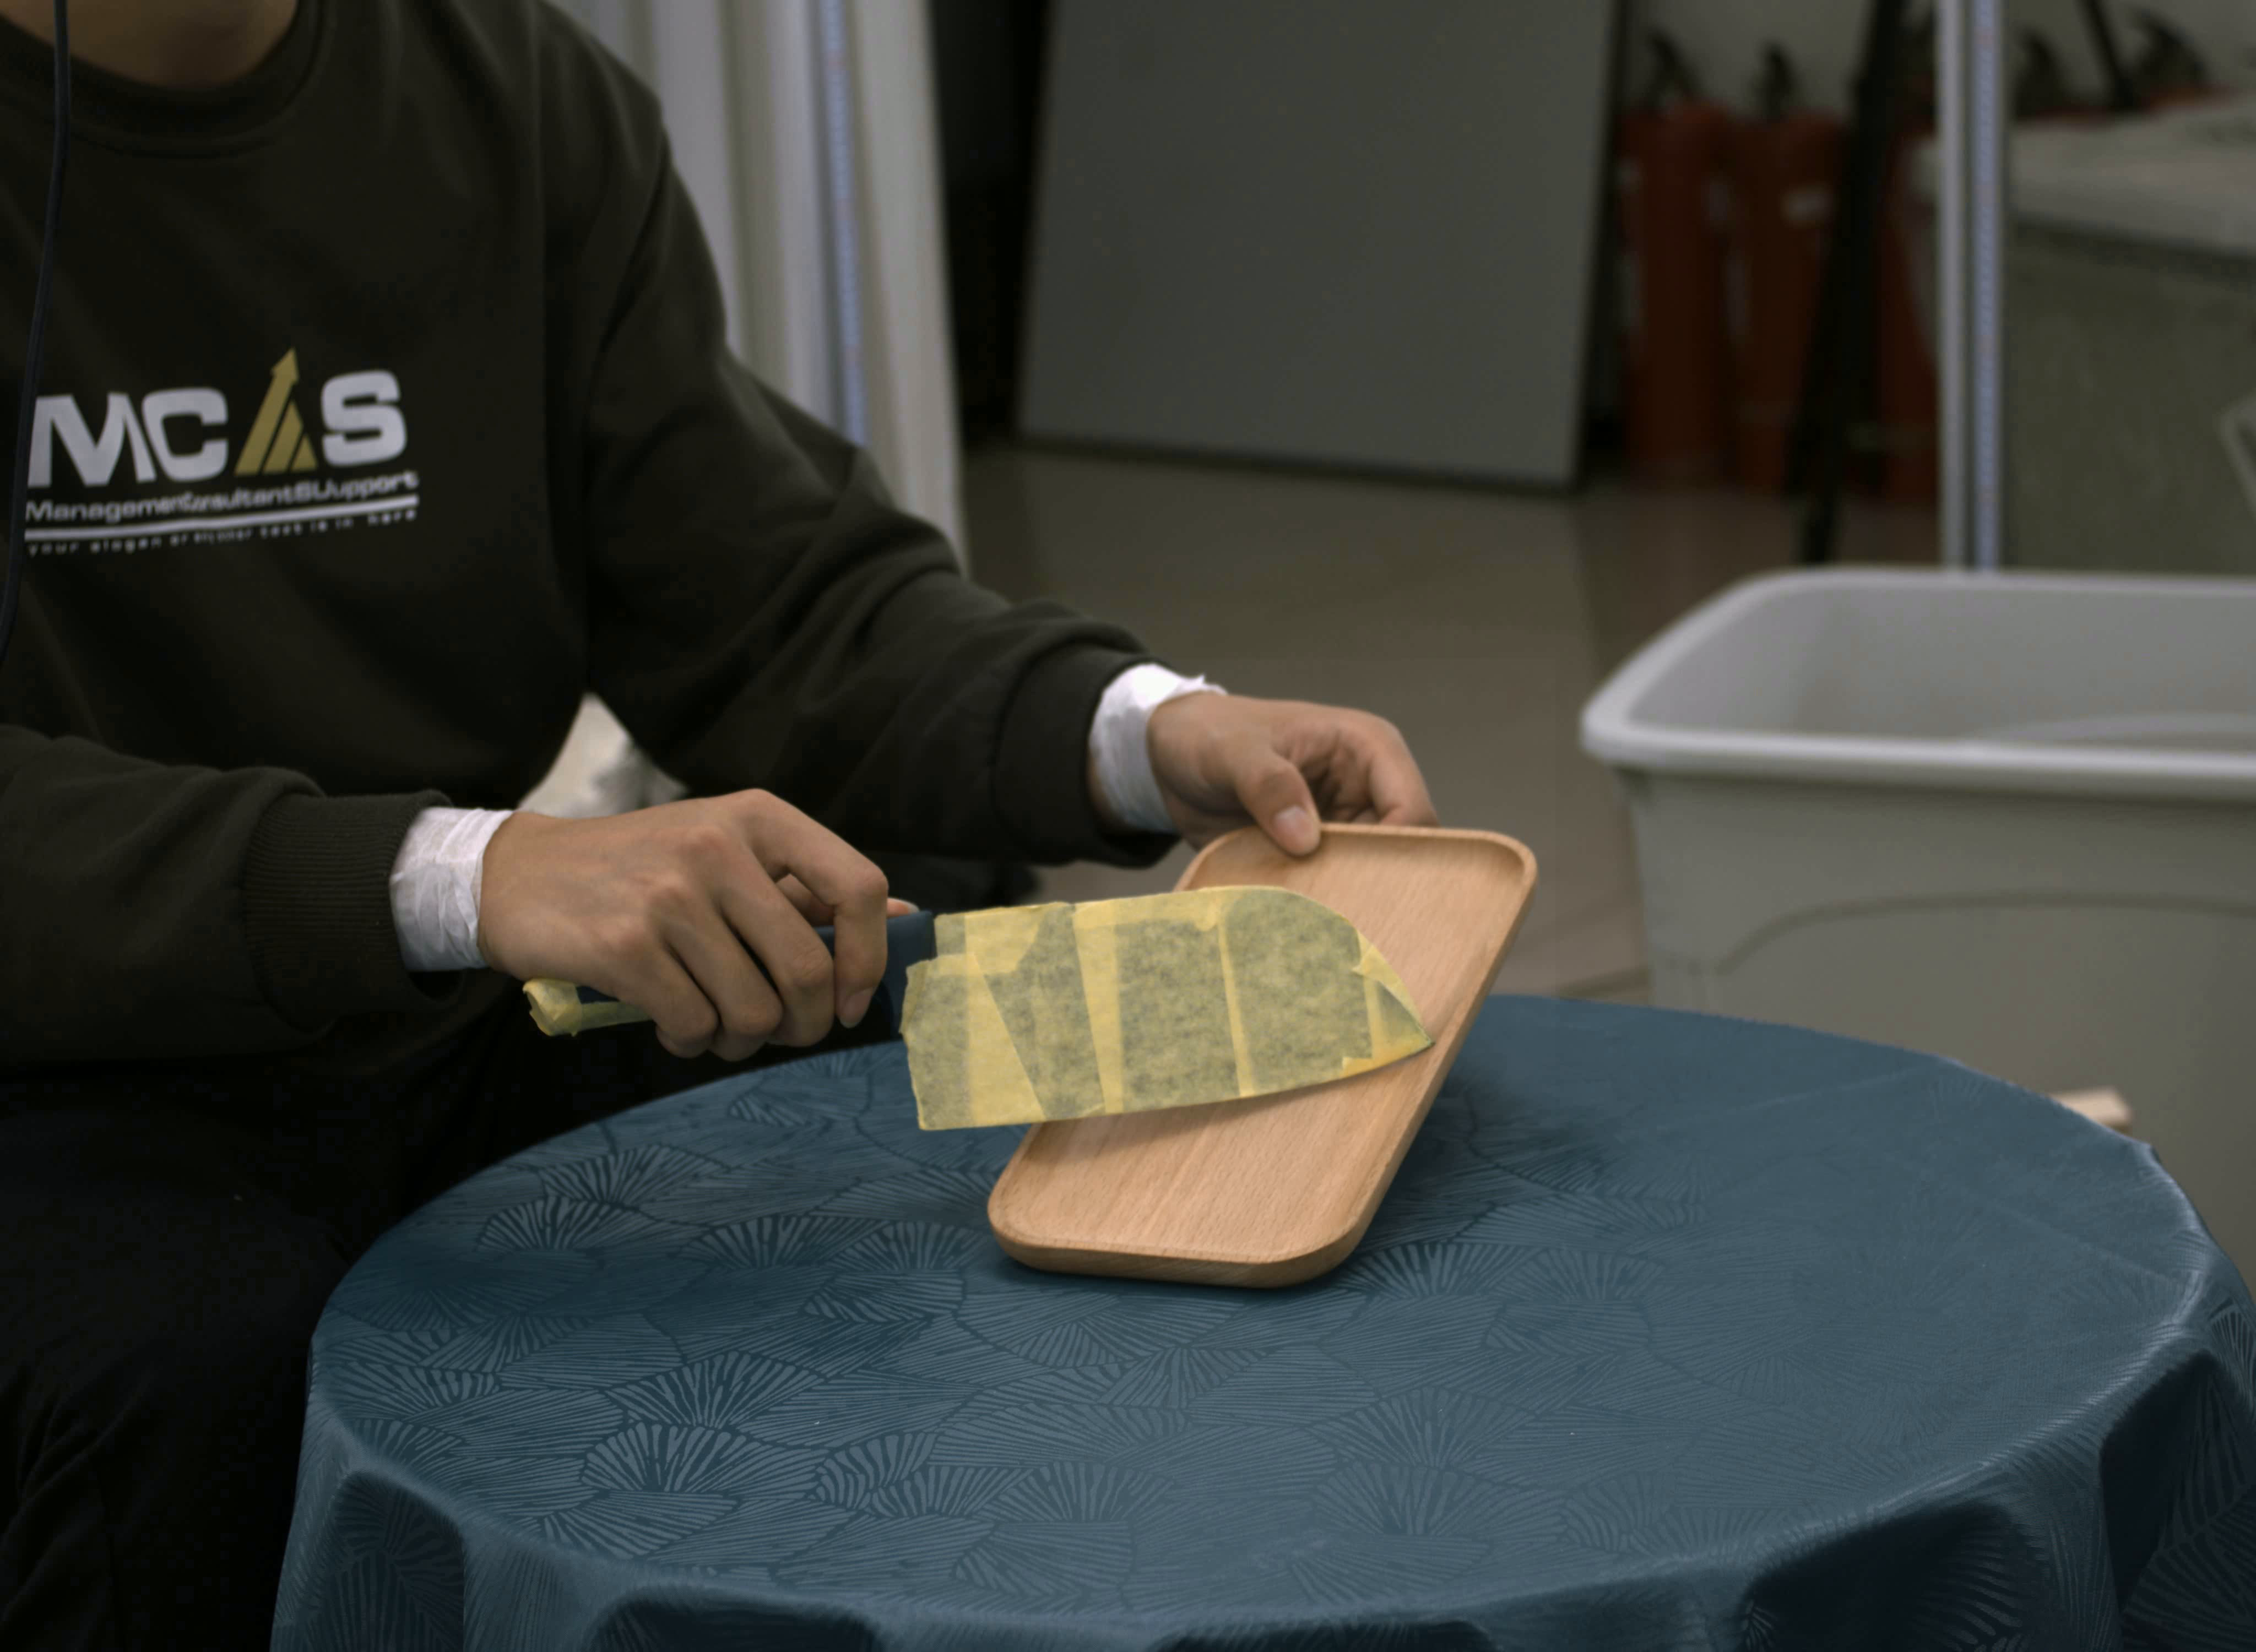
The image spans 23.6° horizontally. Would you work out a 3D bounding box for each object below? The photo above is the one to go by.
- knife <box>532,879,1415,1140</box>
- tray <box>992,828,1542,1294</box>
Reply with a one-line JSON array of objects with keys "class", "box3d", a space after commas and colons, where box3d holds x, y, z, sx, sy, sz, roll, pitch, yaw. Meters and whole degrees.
[{"class": "knife", "box3d": [-0.048, 0.061, 1.742, 0.285, 0.082, 0.027, -4, -21, -4]}, {"class": "tray", "box3d": [0.050, 0.074, 1.768, 0.131, 0.023, 0.249, -1, 33, 25]}]
